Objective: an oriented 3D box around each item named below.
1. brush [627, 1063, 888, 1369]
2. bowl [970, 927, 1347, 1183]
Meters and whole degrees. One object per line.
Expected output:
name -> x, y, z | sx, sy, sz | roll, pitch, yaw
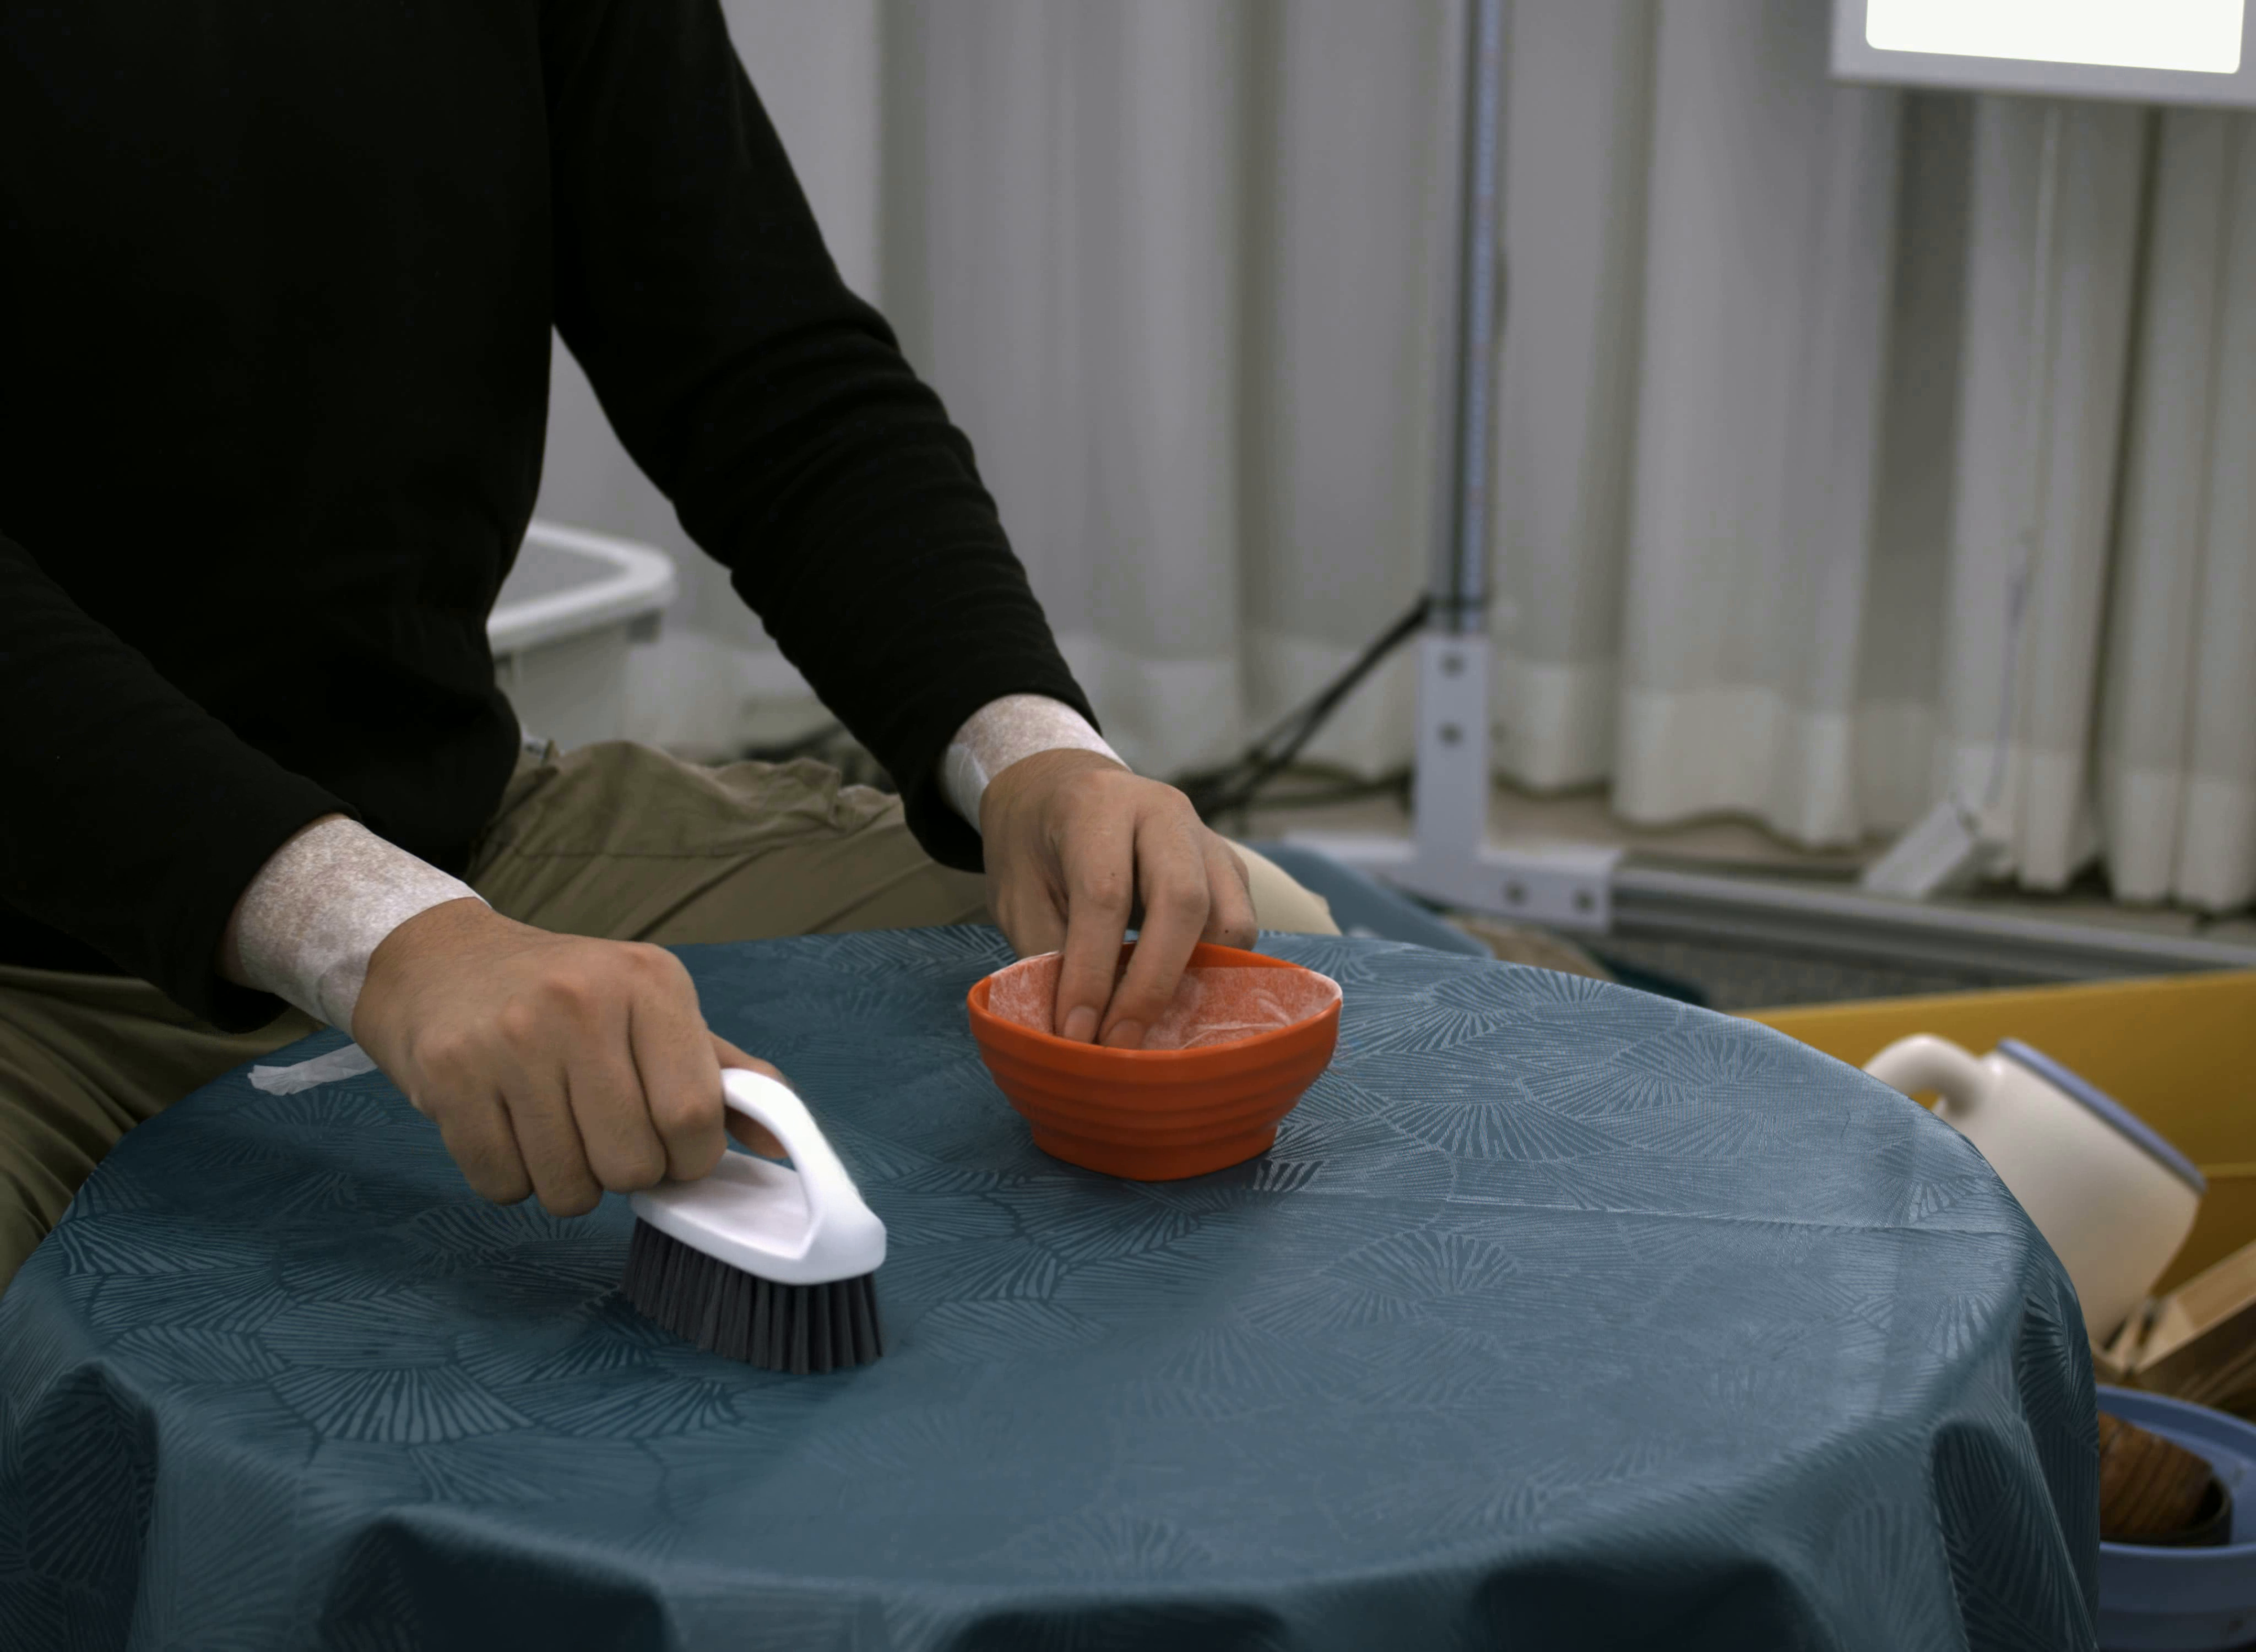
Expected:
brush -> -0.107, 0.106, 1.501 | 0.050, 0.073, 0.098 | -12, 20, -34
bowl -> 0.009, 0.074, 1.658 | 0.118, 0.052, 0.118 | 1, 19, 0
